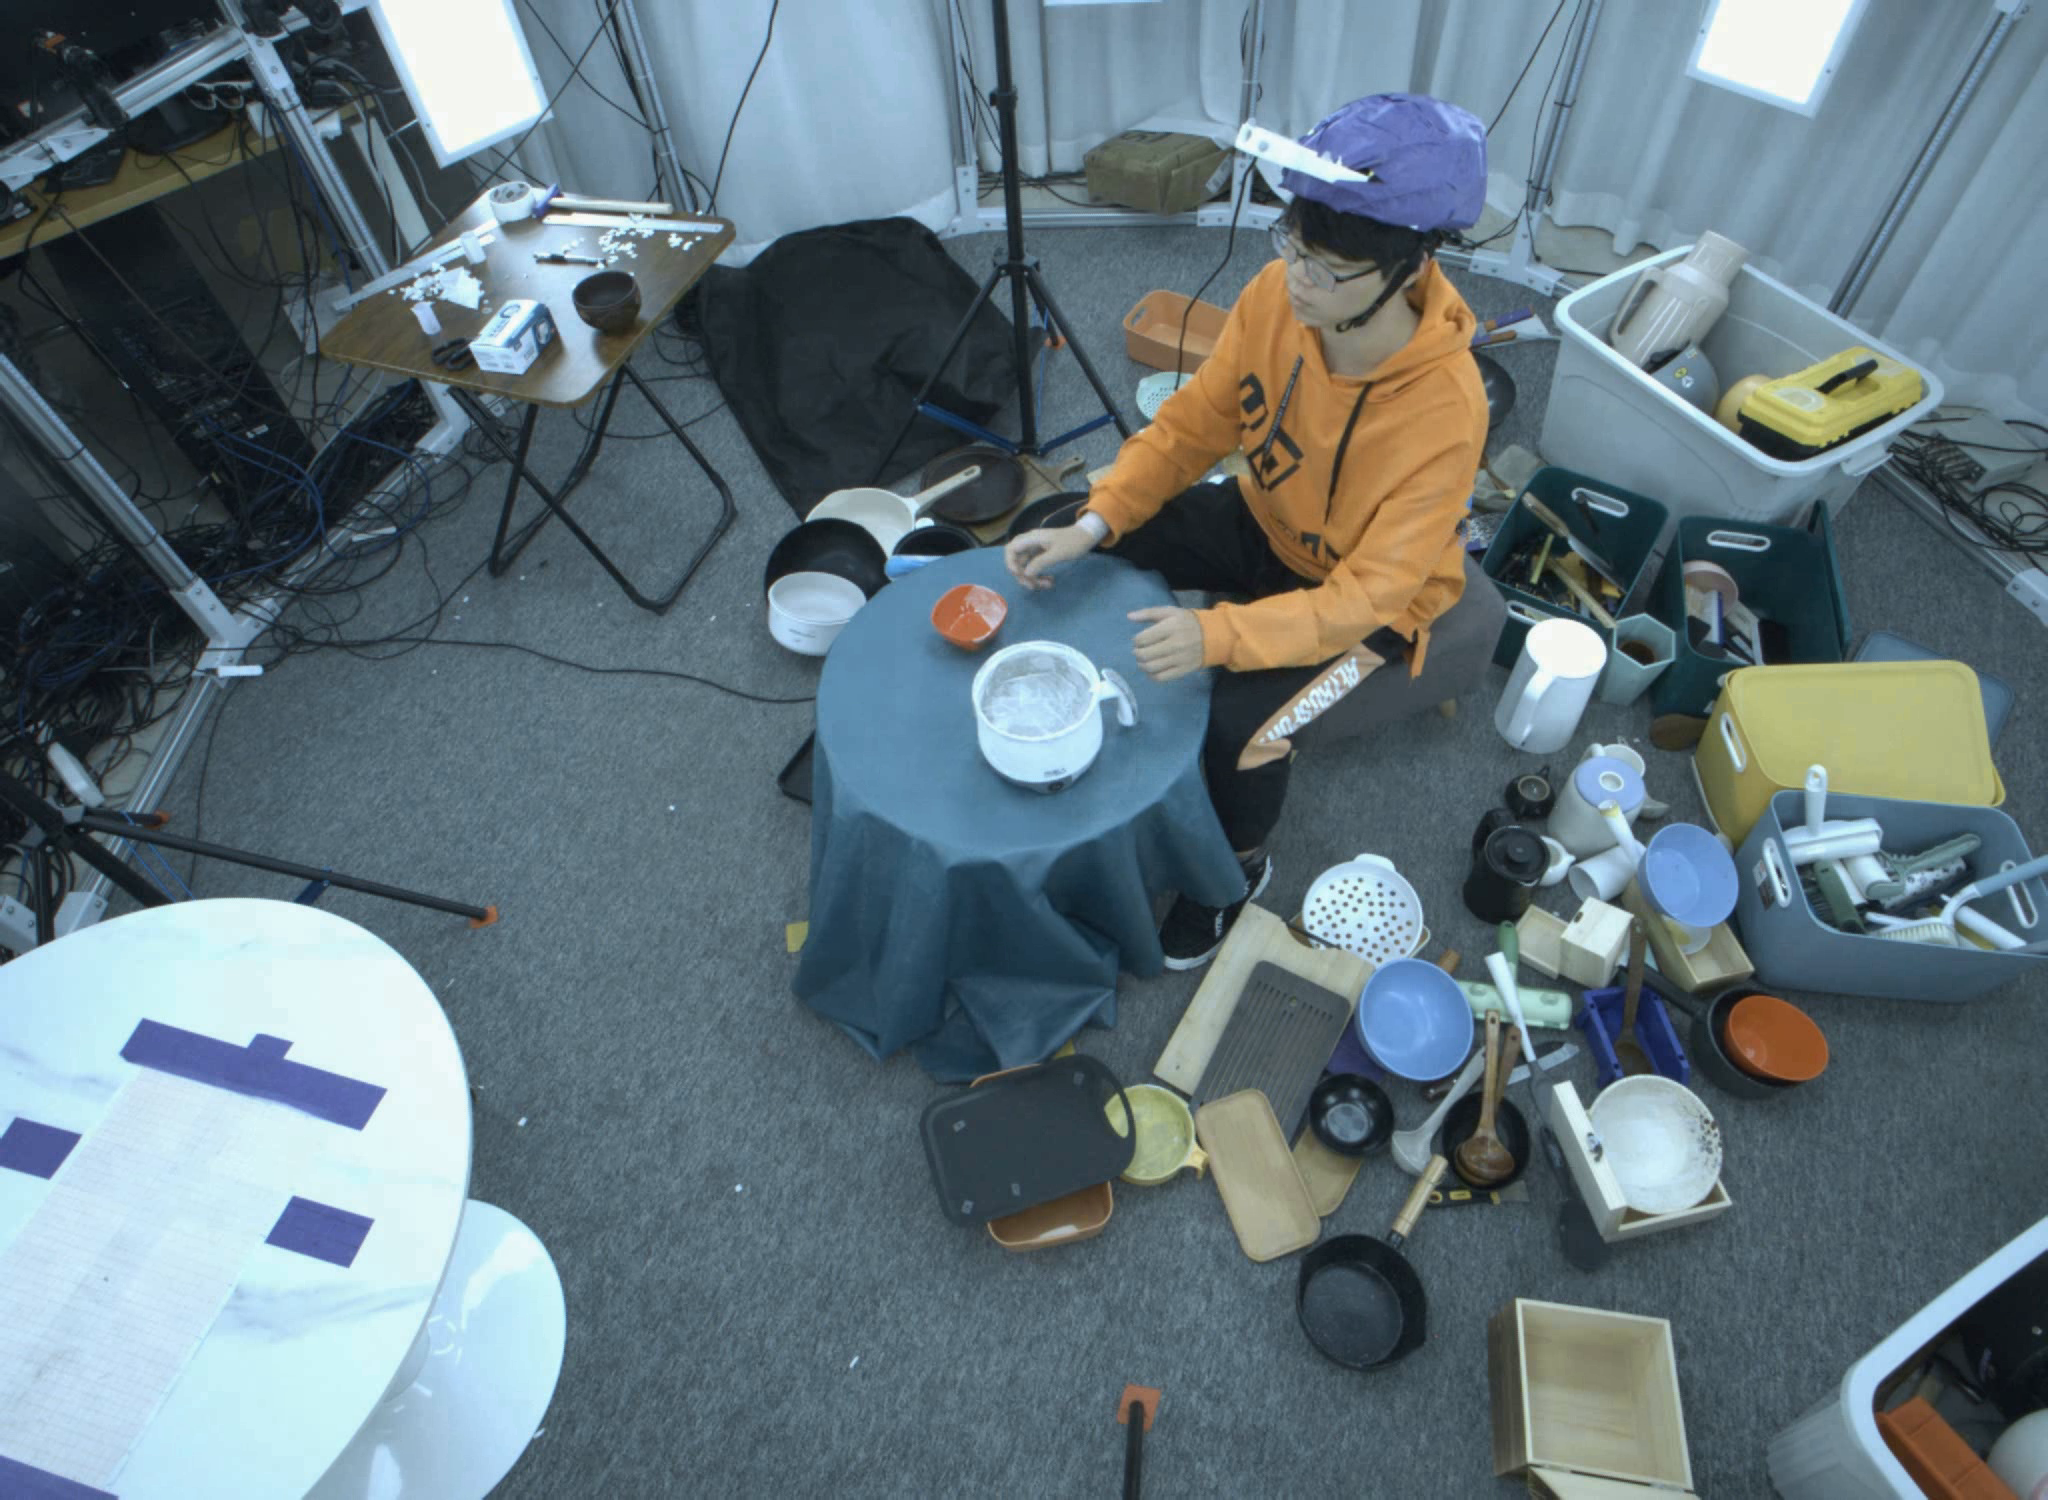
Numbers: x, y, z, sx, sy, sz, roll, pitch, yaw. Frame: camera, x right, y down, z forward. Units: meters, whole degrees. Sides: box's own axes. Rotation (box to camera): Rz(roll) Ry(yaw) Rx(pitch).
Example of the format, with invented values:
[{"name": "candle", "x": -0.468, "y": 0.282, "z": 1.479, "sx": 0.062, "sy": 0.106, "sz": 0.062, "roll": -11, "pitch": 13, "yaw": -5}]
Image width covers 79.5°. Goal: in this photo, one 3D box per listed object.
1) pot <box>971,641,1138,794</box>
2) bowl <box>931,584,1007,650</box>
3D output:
[{"name": "pot", "x": 0.047, "y": -0.052, "z": 1.738, "sx": 0.235, "sy": 0.138, "sz": 0.176, "roll": -15, "pitch": 56, "yaw": -7}, {"name": "bowl", "x": -0.083, "y": -0.199, "z": 1.900, "sx": 0.119, "sy": 0.052, "sz": 0.117, "roll": -1, "pitch": 54, "yaw": 3}]
